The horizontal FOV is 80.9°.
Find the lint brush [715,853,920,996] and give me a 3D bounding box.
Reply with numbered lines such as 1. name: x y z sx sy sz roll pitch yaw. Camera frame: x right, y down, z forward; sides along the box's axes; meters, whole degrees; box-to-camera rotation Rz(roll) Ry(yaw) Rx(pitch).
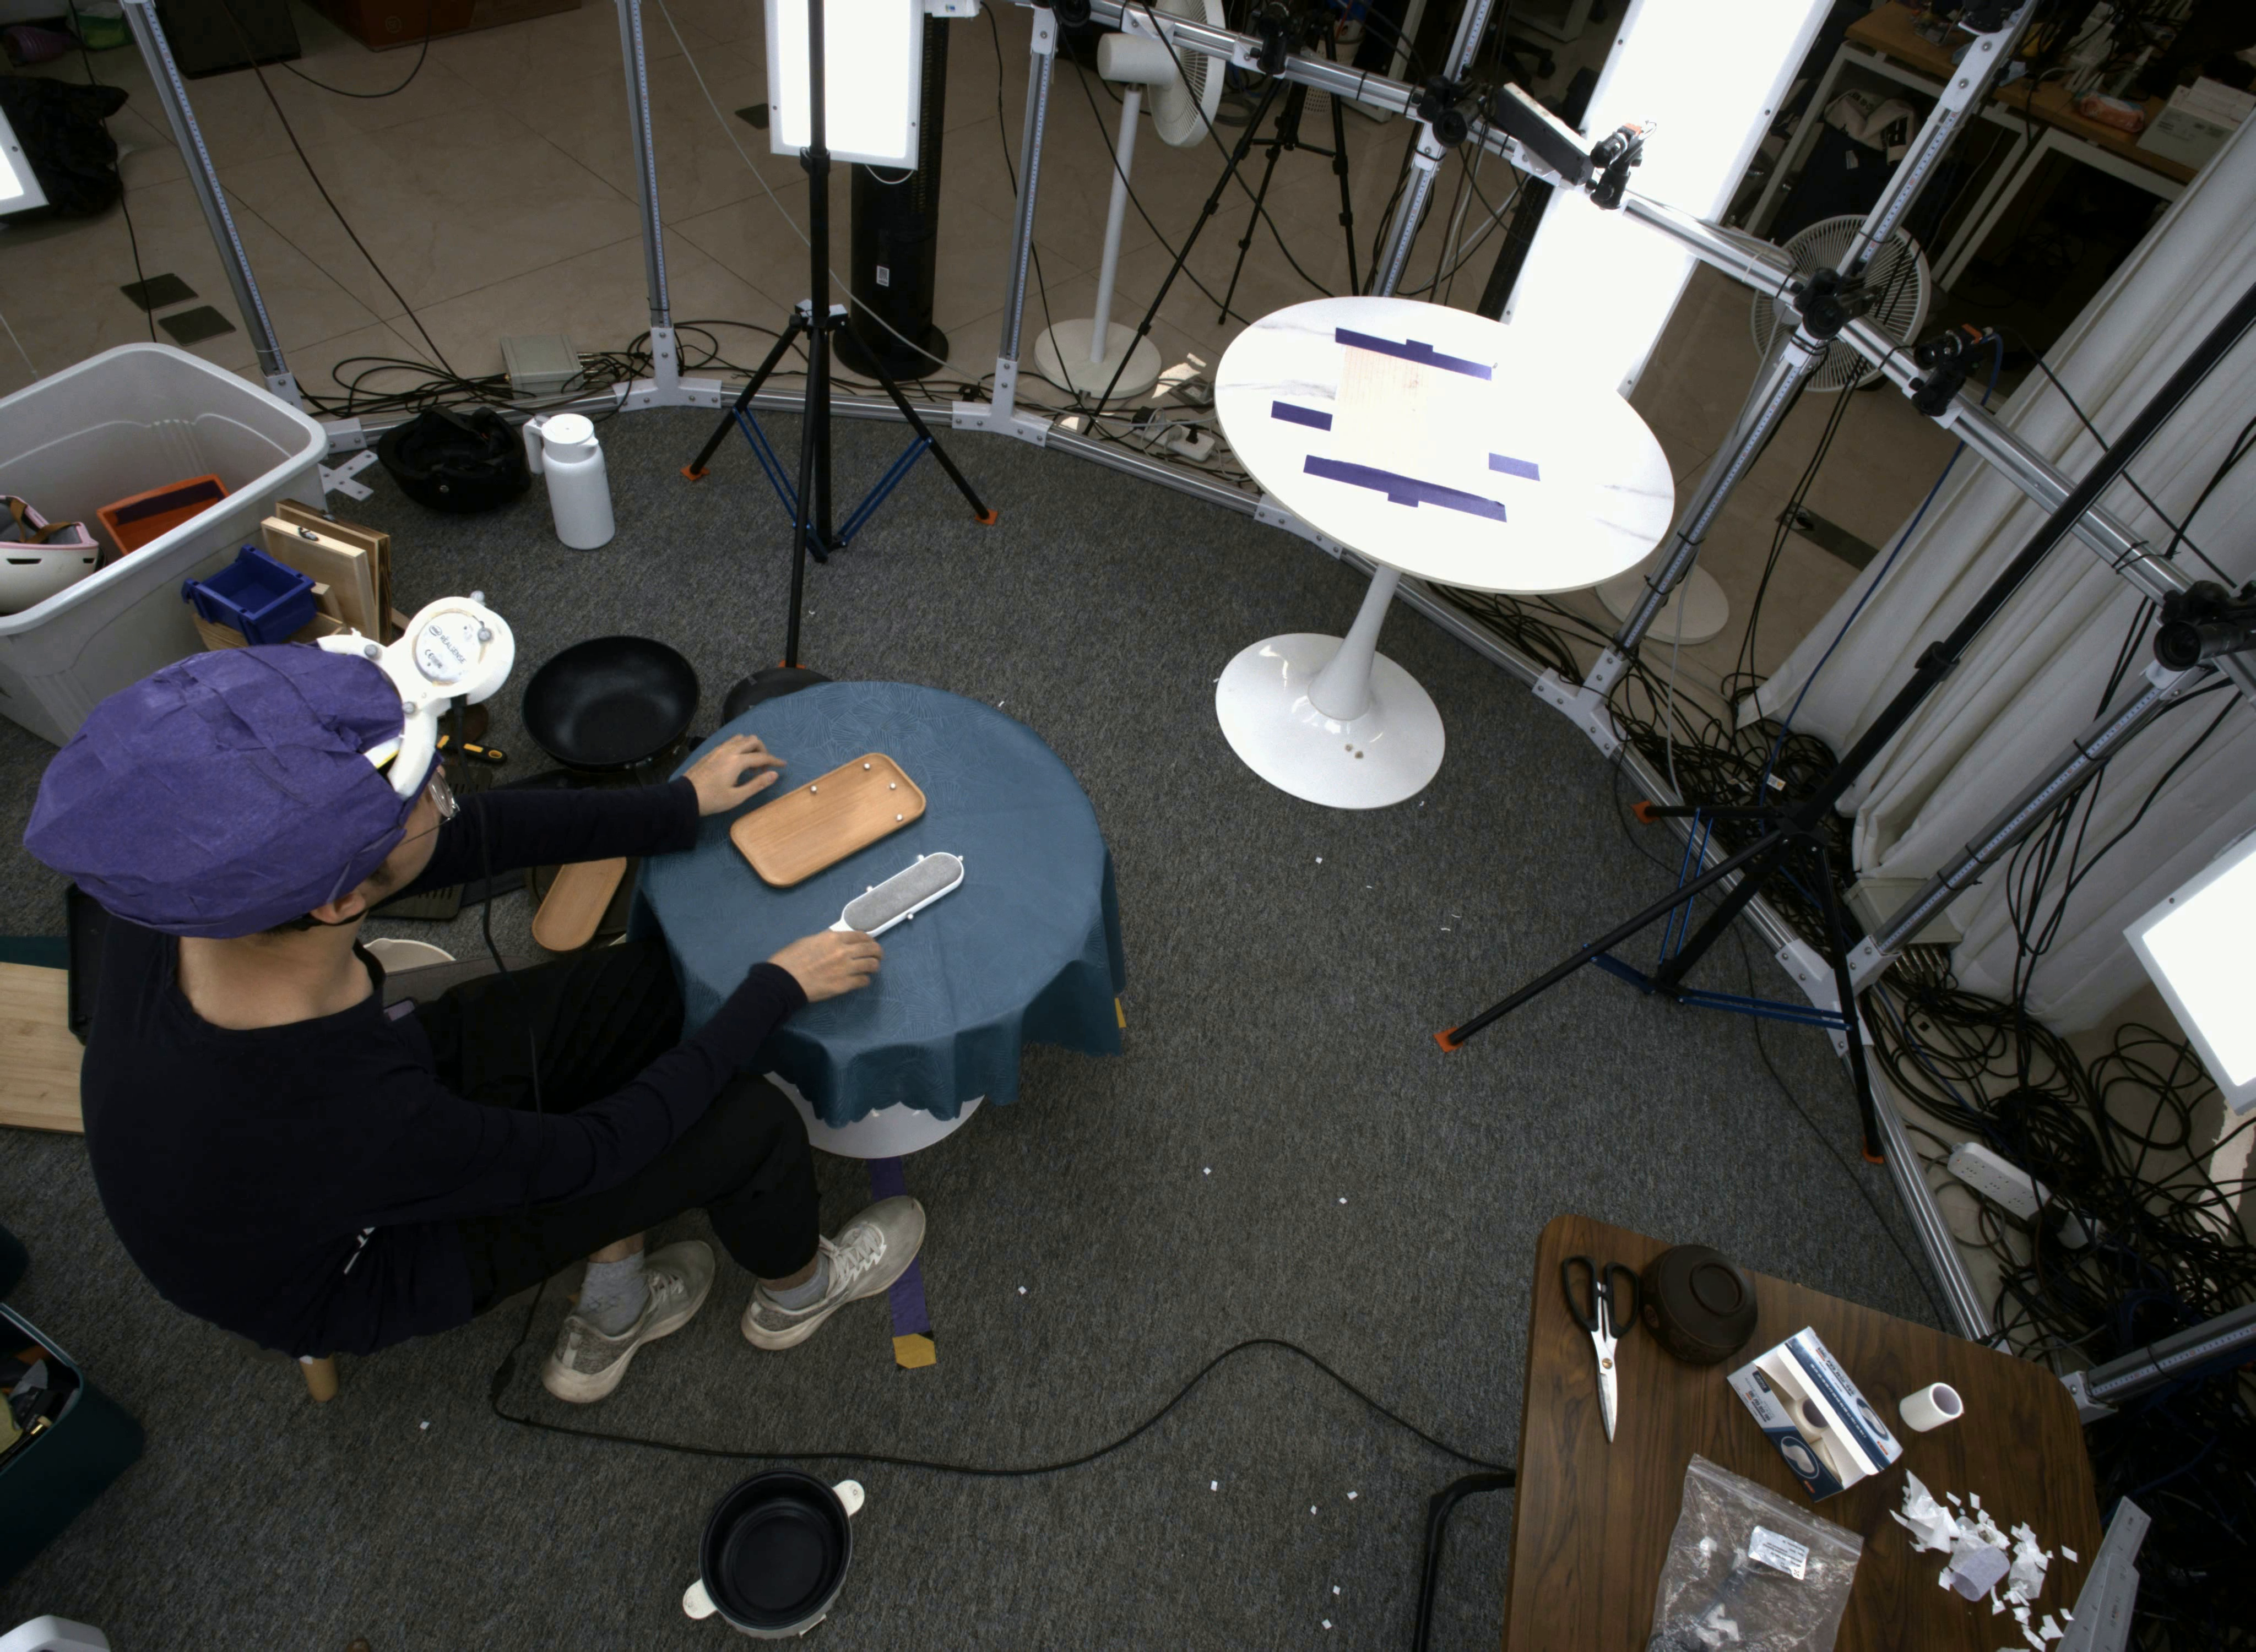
1. lint brush: -0.389 0.120 1.638 0.309 0.021 0.059 -35 74 -33

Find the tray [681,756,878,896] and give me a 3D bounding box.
1. tray: -0.460 -0.003 1.717 0.251 0.023 0.127 -32 65 -31
